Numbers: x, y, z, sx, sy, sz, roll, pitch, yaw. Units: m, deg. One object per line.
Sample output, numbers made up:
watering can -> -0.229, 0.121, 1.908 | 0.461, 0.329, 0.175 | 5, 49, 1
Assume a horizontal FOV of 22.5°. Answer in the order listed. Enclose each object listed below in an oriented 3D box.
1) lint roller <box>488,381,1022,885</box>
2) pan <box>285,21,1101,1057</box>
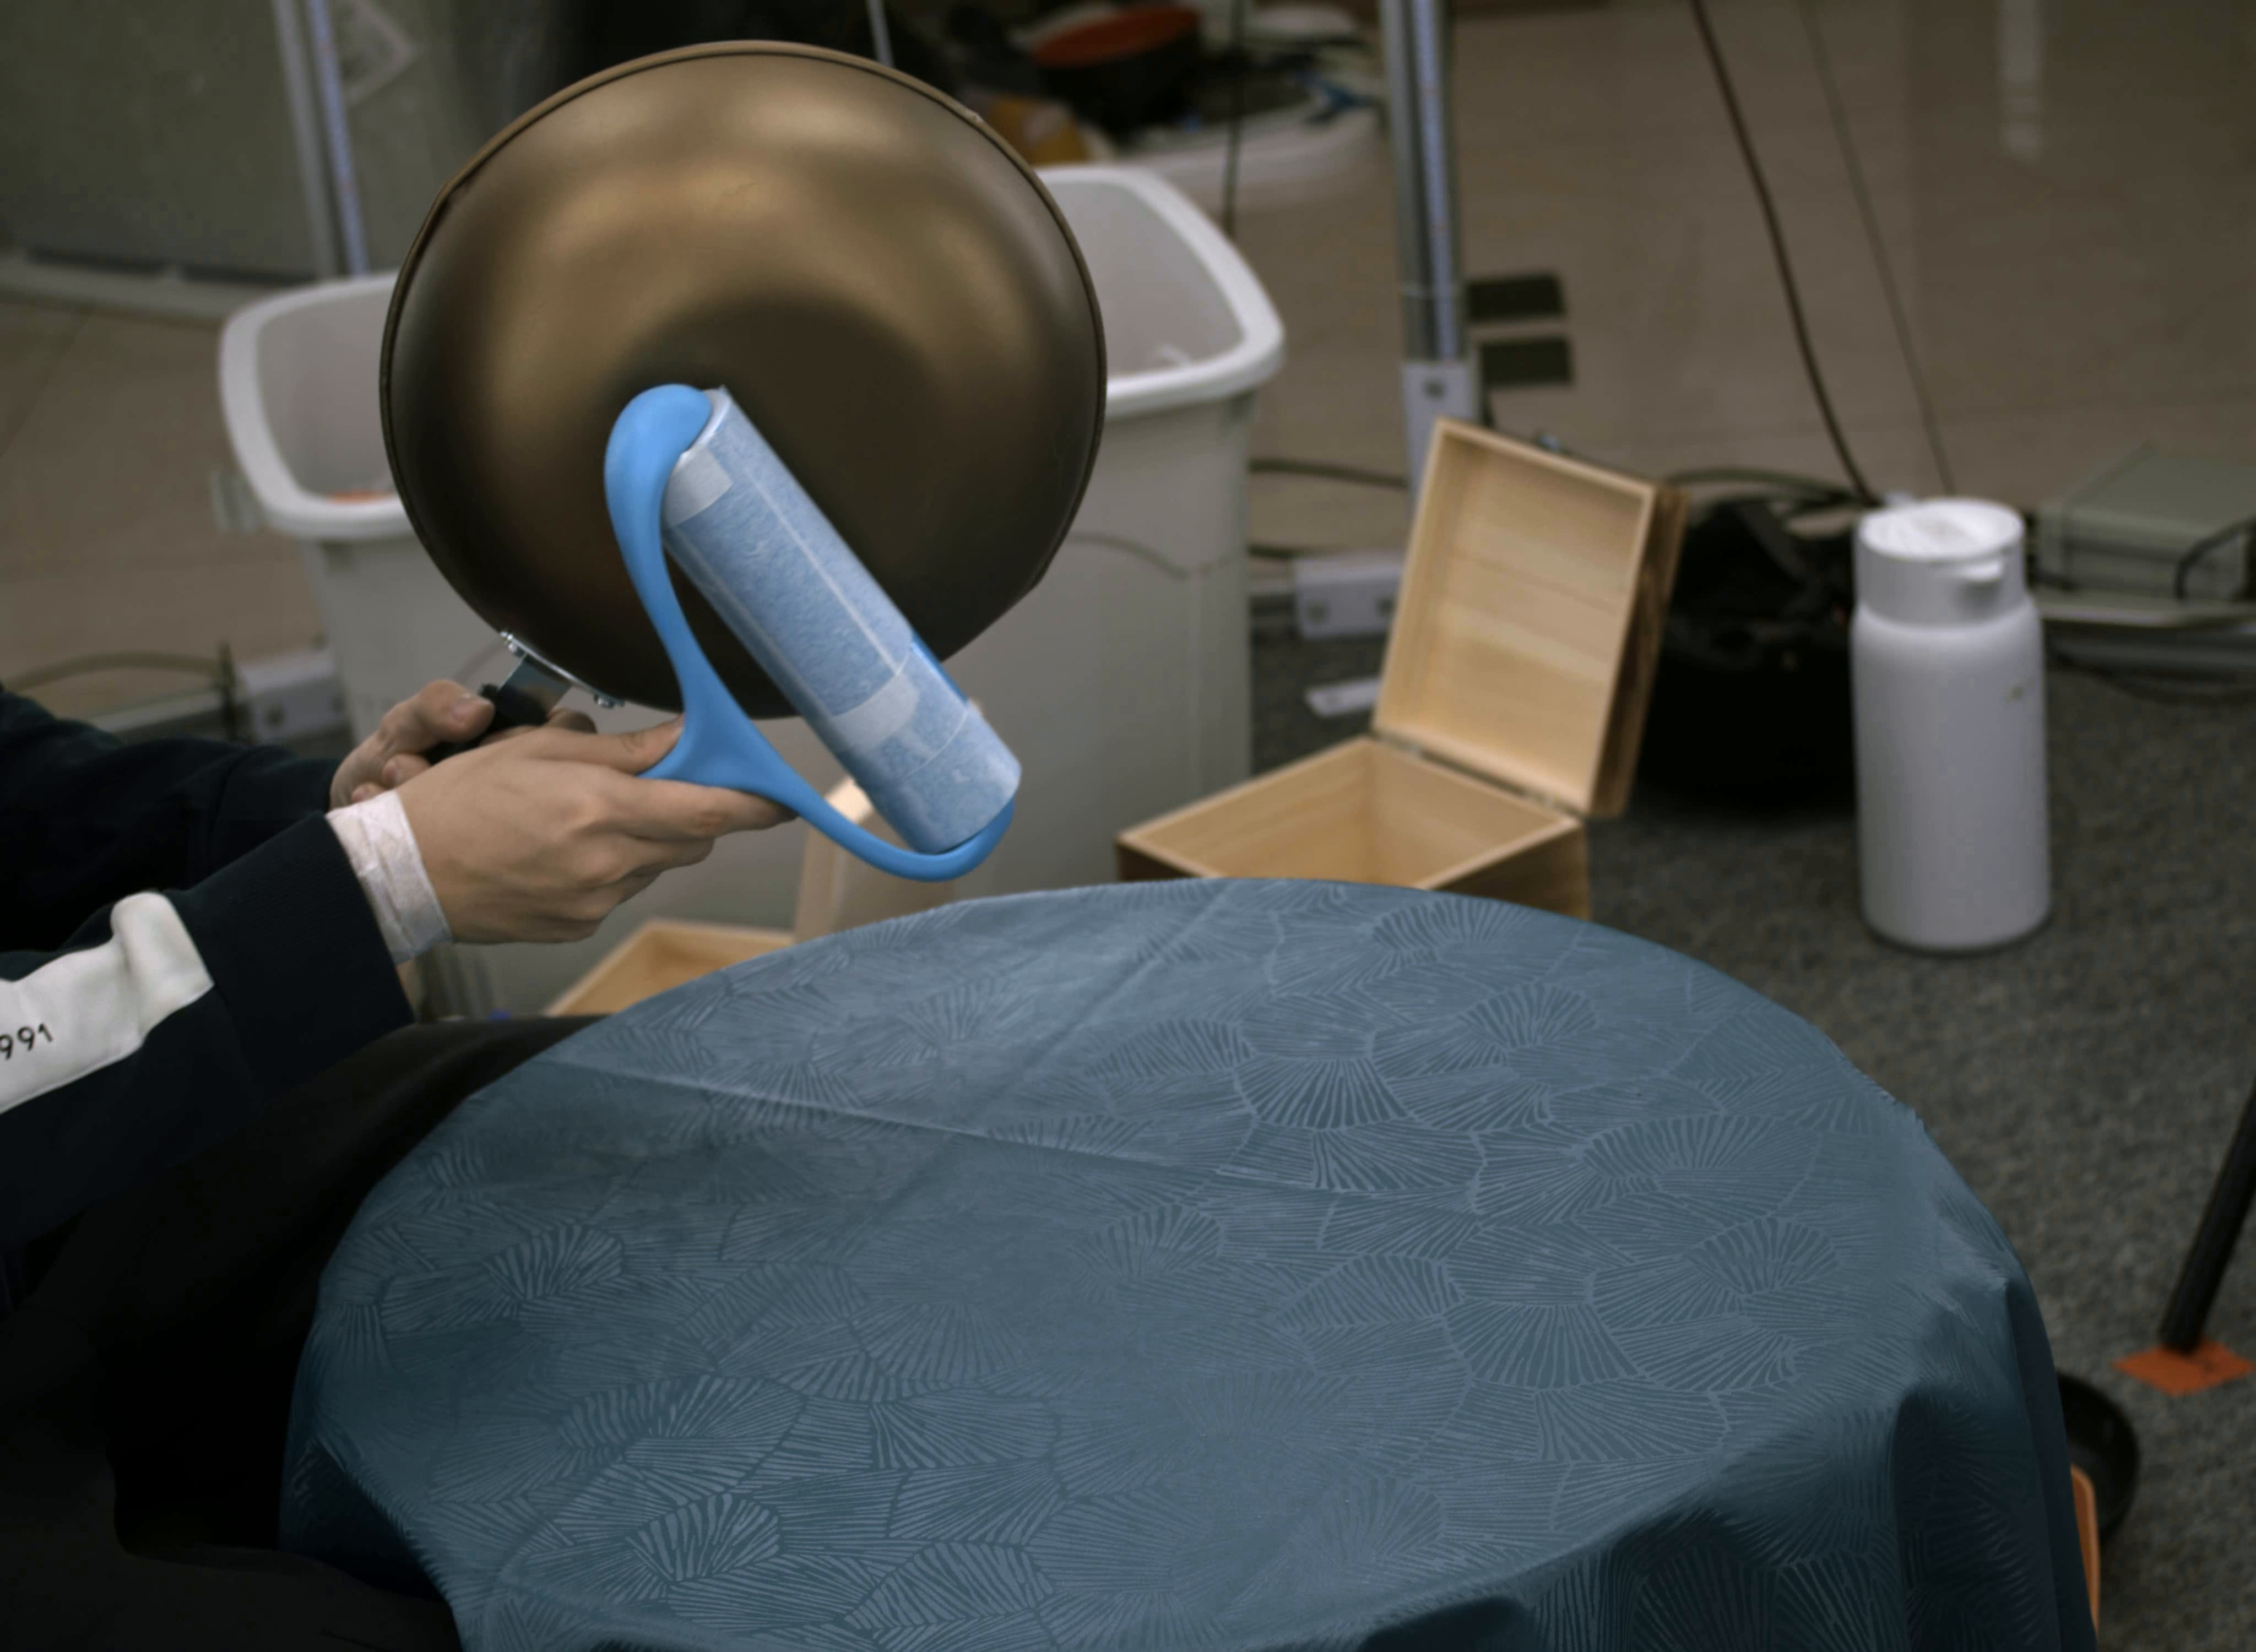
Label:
lint roller -> -0.158, -0.035, 2.095 | 0.180, 0.232, 0.067 | -44, 31, -3
pan -> -0.194, -0.085, 2.153 | 0.290, 0.467, 0.085 | 29, 17, -24
